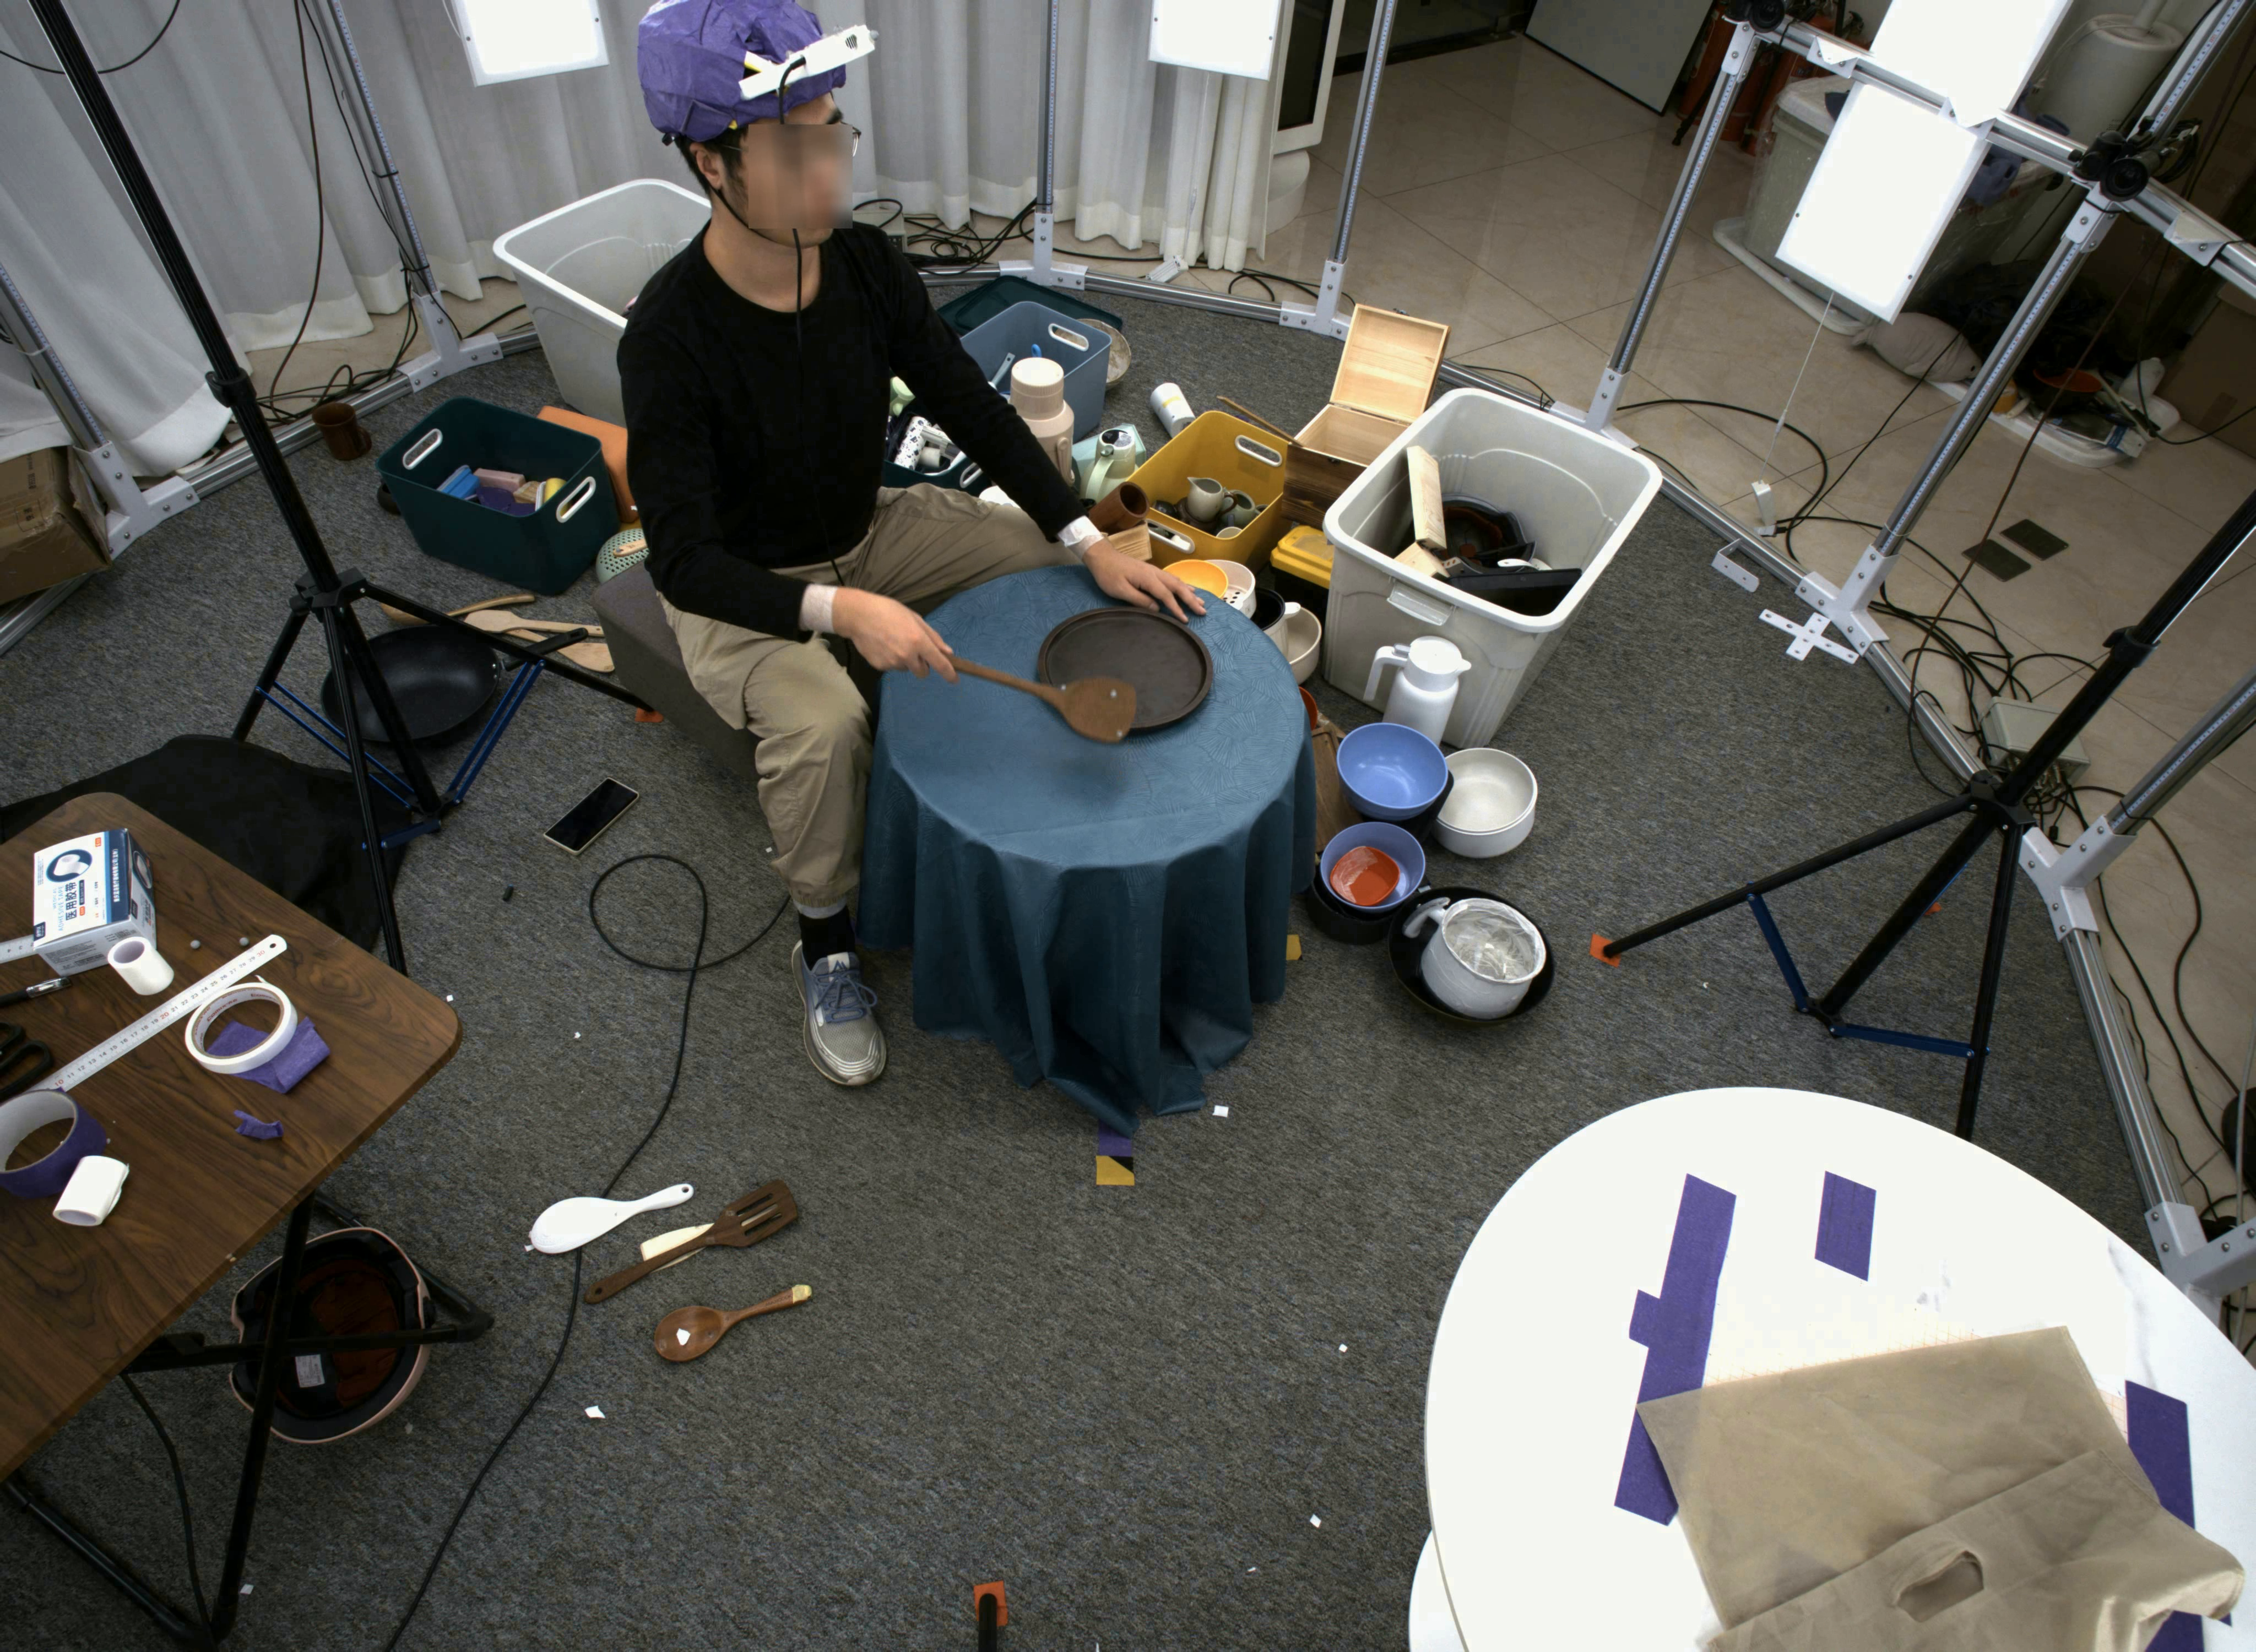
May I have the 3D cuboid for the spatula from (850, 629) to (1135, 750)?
[{"bbox_3d":[-0.177,-0.190,1.684,0.385,0.015,0.098,18,64,-1],"label":"spatula"}]

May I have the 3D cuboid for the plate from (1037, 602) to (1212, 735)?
[{"bbox_3d":[-0.005,-0.226,1.851,0.254,0.028,0.261,2,51,-2],"label":"plate"}]
